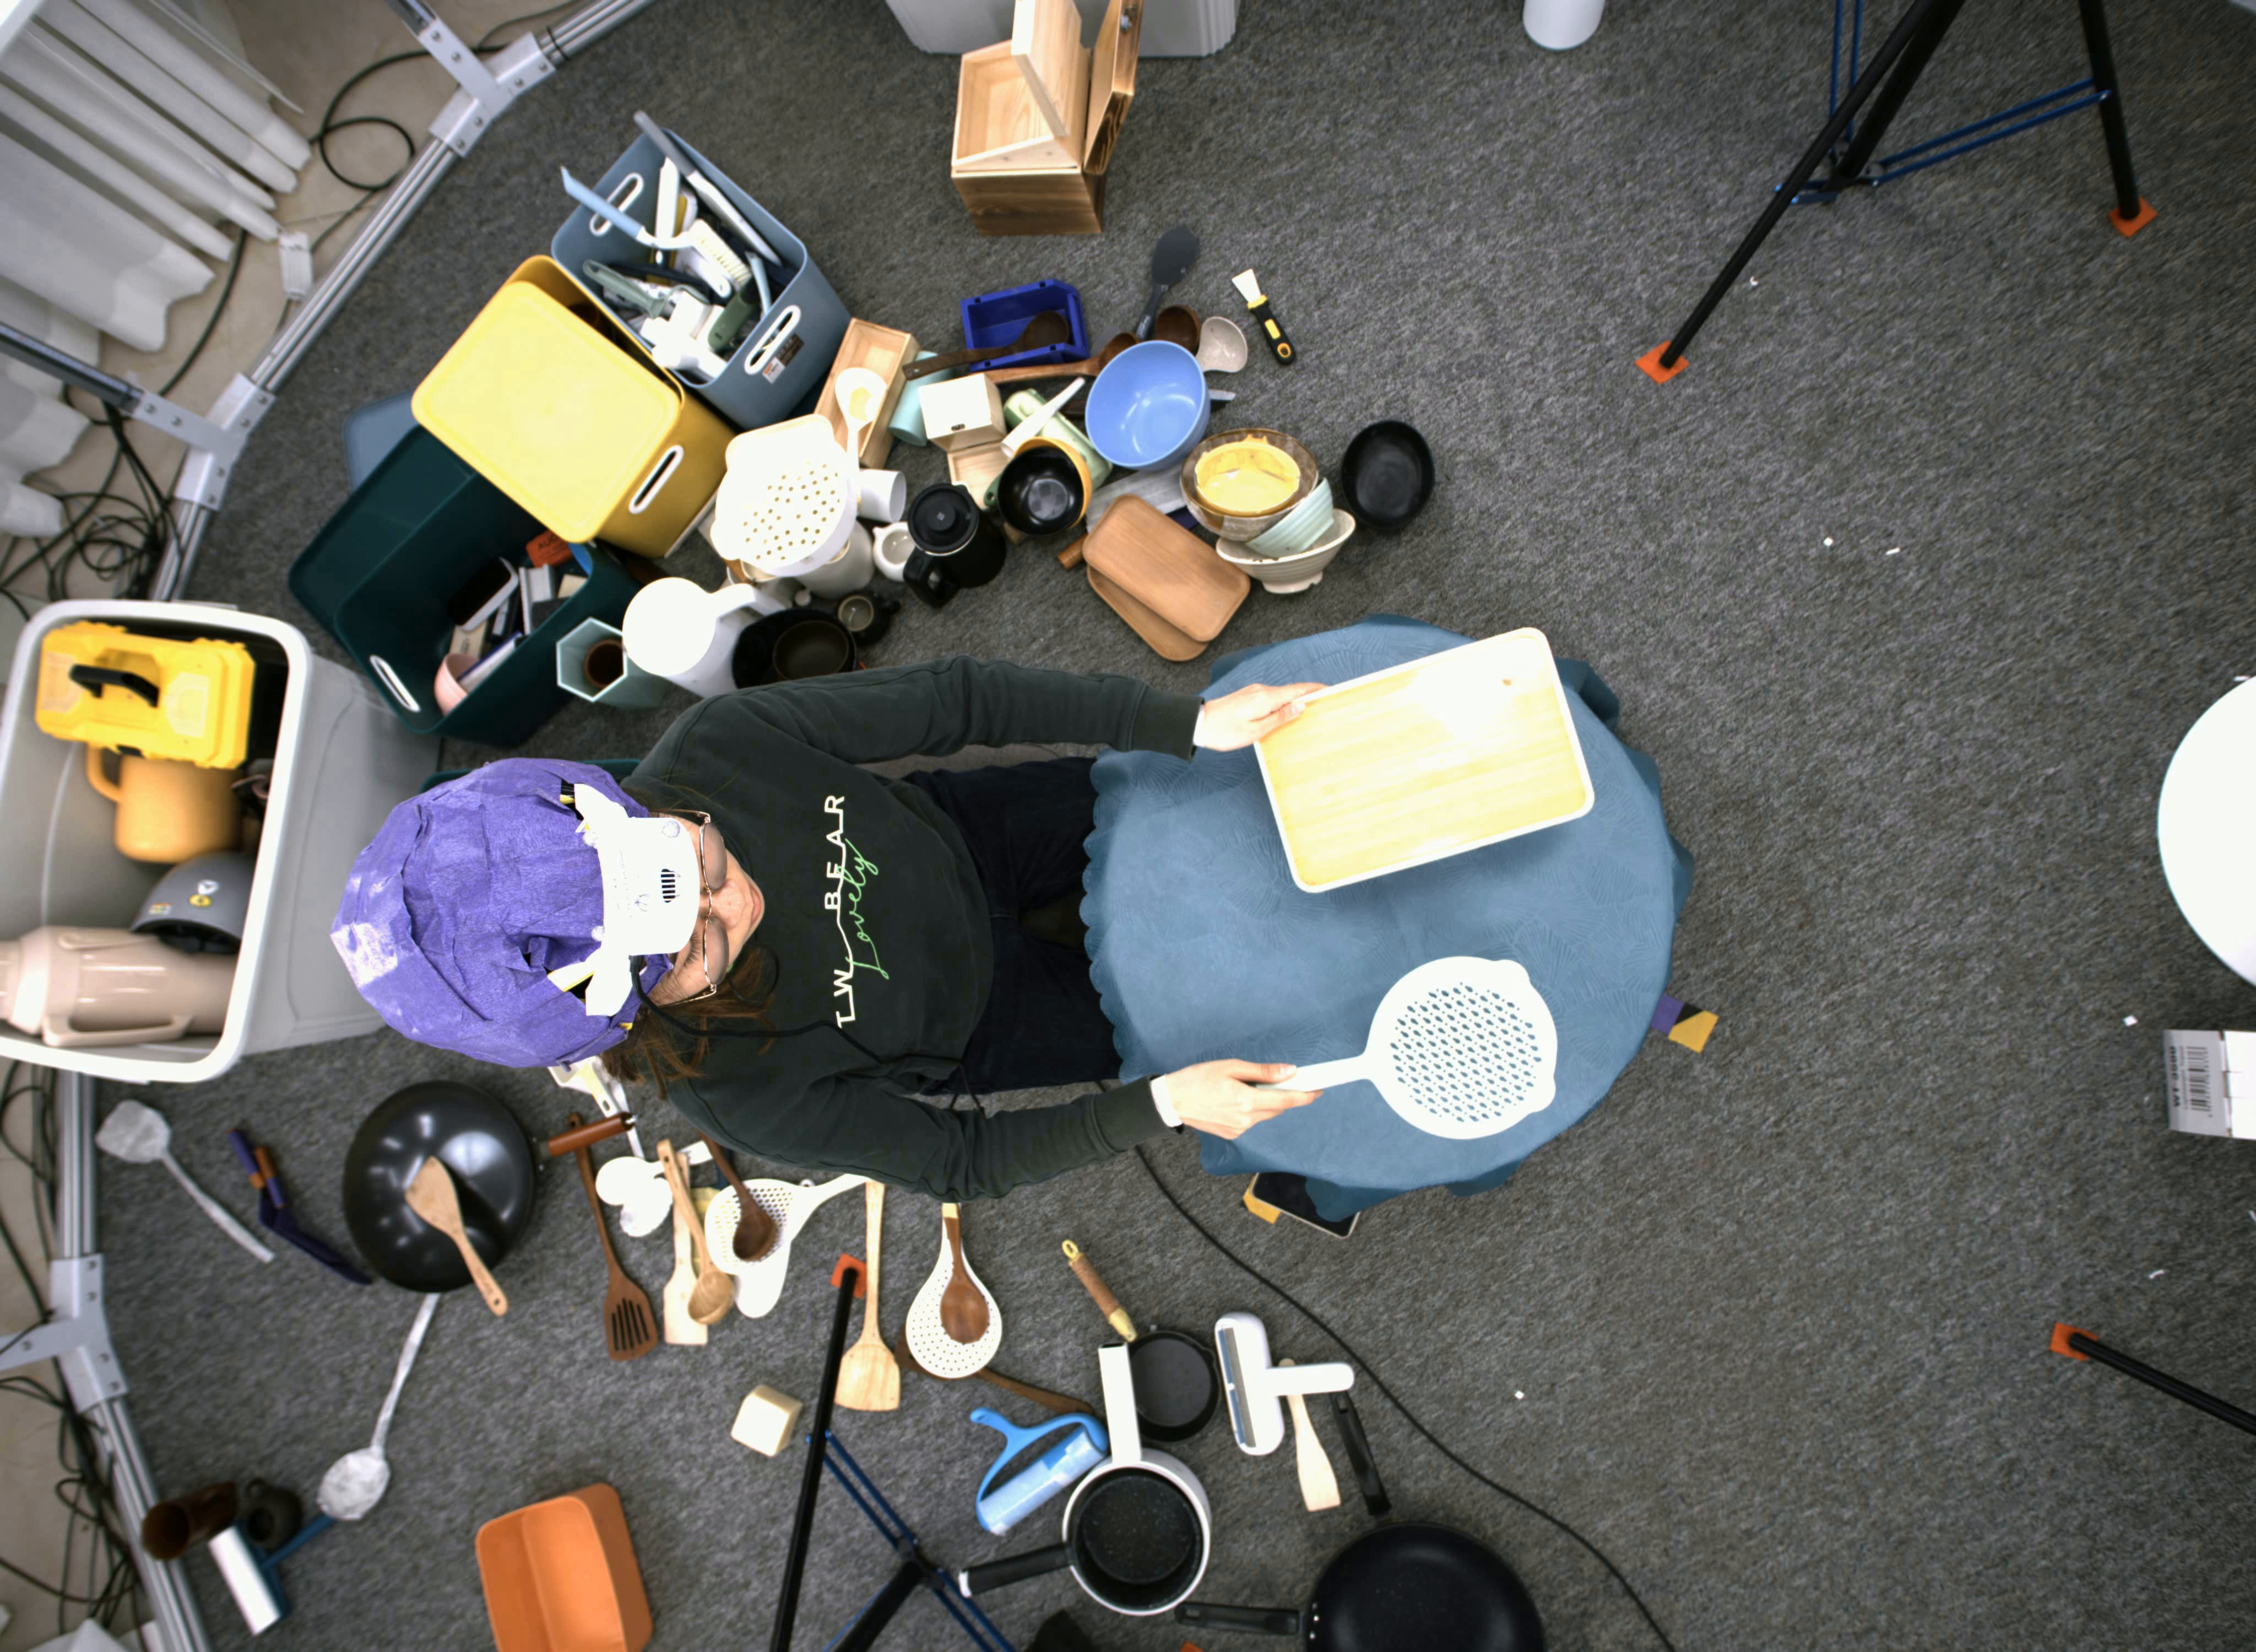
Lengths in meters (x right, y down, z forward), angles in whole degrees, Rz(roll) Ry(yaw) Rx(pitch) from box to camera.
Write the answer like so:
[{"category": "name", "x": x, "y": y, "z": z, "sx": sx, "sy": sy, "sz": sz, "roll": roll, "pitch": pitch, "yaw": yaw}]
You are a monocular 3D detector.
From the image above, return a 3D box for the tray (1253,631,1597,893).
[{"category": "tray", "x": 0.290, "y": -0.063, "z": 1.356, "sx": 0.302, "sy": 0.027, "sz": 0.191, "roll": -16, "pitch": 89, "yaw": 10}]

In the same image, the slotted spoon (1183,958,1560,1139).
[{"category": "slotted spoon", "x": 0.224, "y": 0.230, "z": 1.315, "sx": 0.360, "sy": 0.076, "sz": 0.166, "roll": -11, "pitch": 69, "yaw": 7}]
